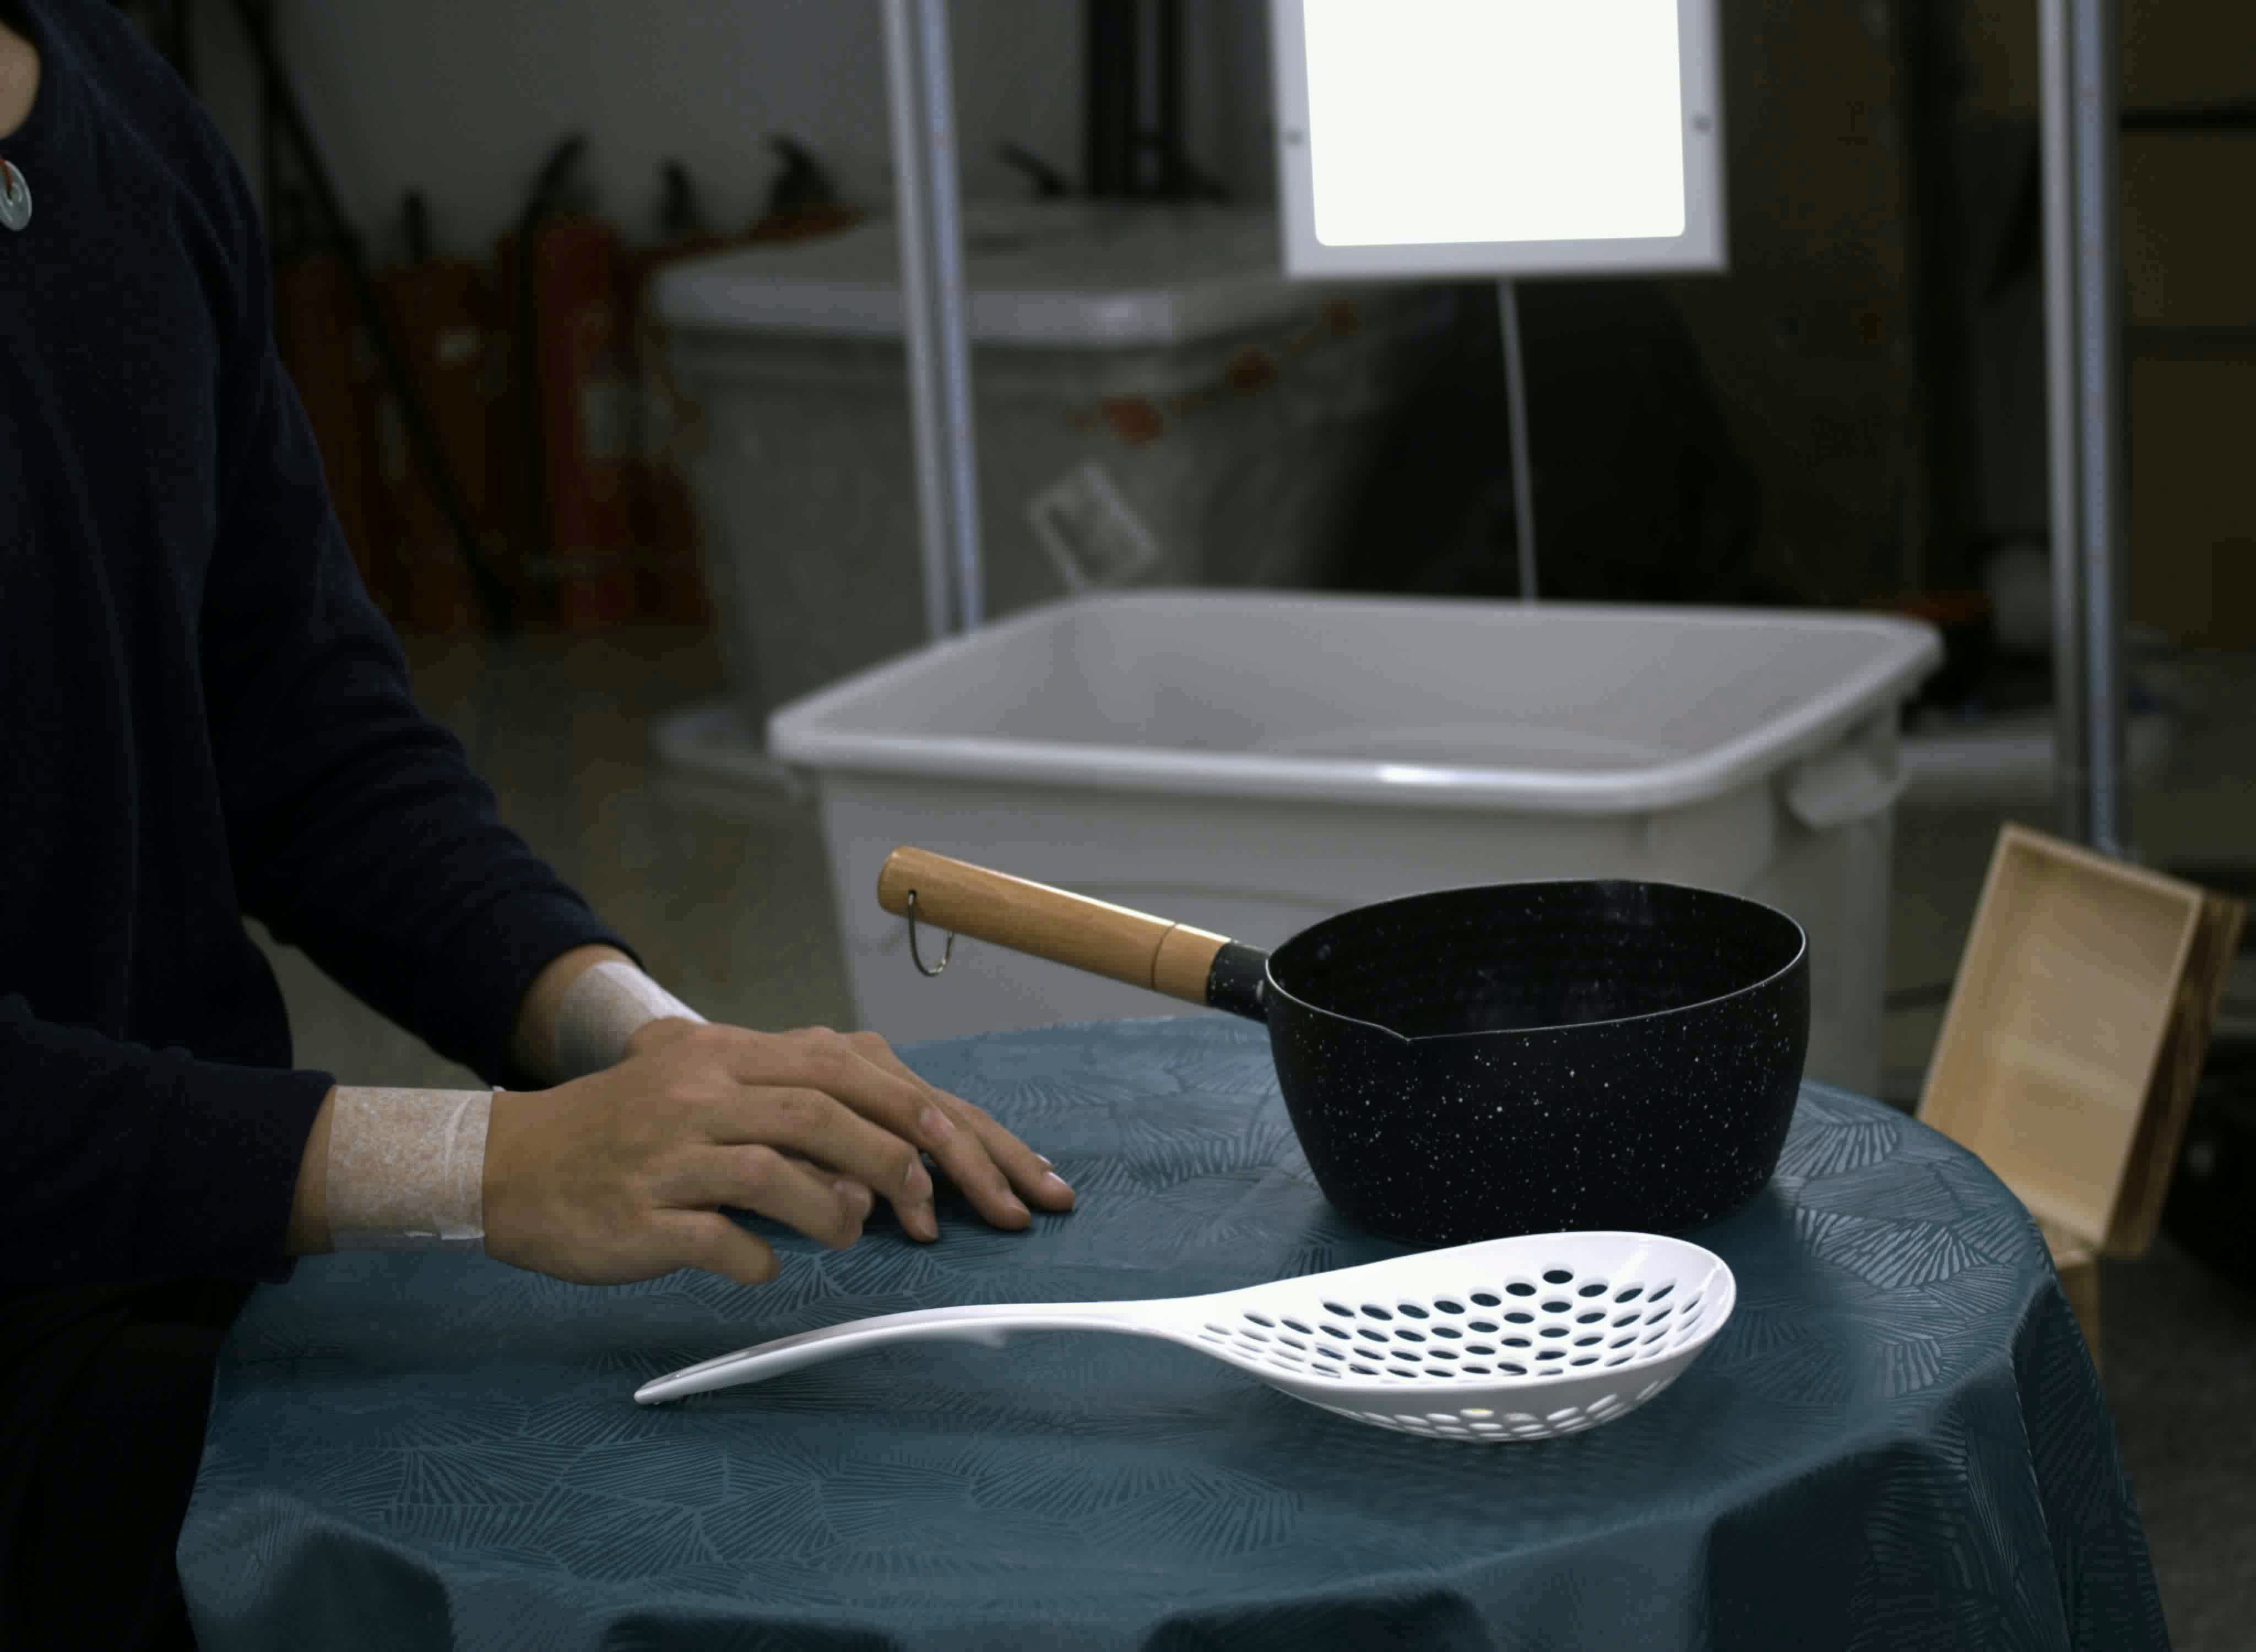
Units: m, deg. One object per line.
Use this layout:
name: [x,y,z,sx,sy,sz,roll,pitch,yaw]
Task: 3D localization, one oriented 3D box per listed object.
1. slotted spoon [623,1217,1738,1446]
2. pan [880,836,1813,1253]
slotted spoon: [0.012,0.159,1.671,0.351,0.050,0.135,1,16,17]
pan: [0.068,0.067,1.887,0.348,0.108,0.203,4,17,27]
